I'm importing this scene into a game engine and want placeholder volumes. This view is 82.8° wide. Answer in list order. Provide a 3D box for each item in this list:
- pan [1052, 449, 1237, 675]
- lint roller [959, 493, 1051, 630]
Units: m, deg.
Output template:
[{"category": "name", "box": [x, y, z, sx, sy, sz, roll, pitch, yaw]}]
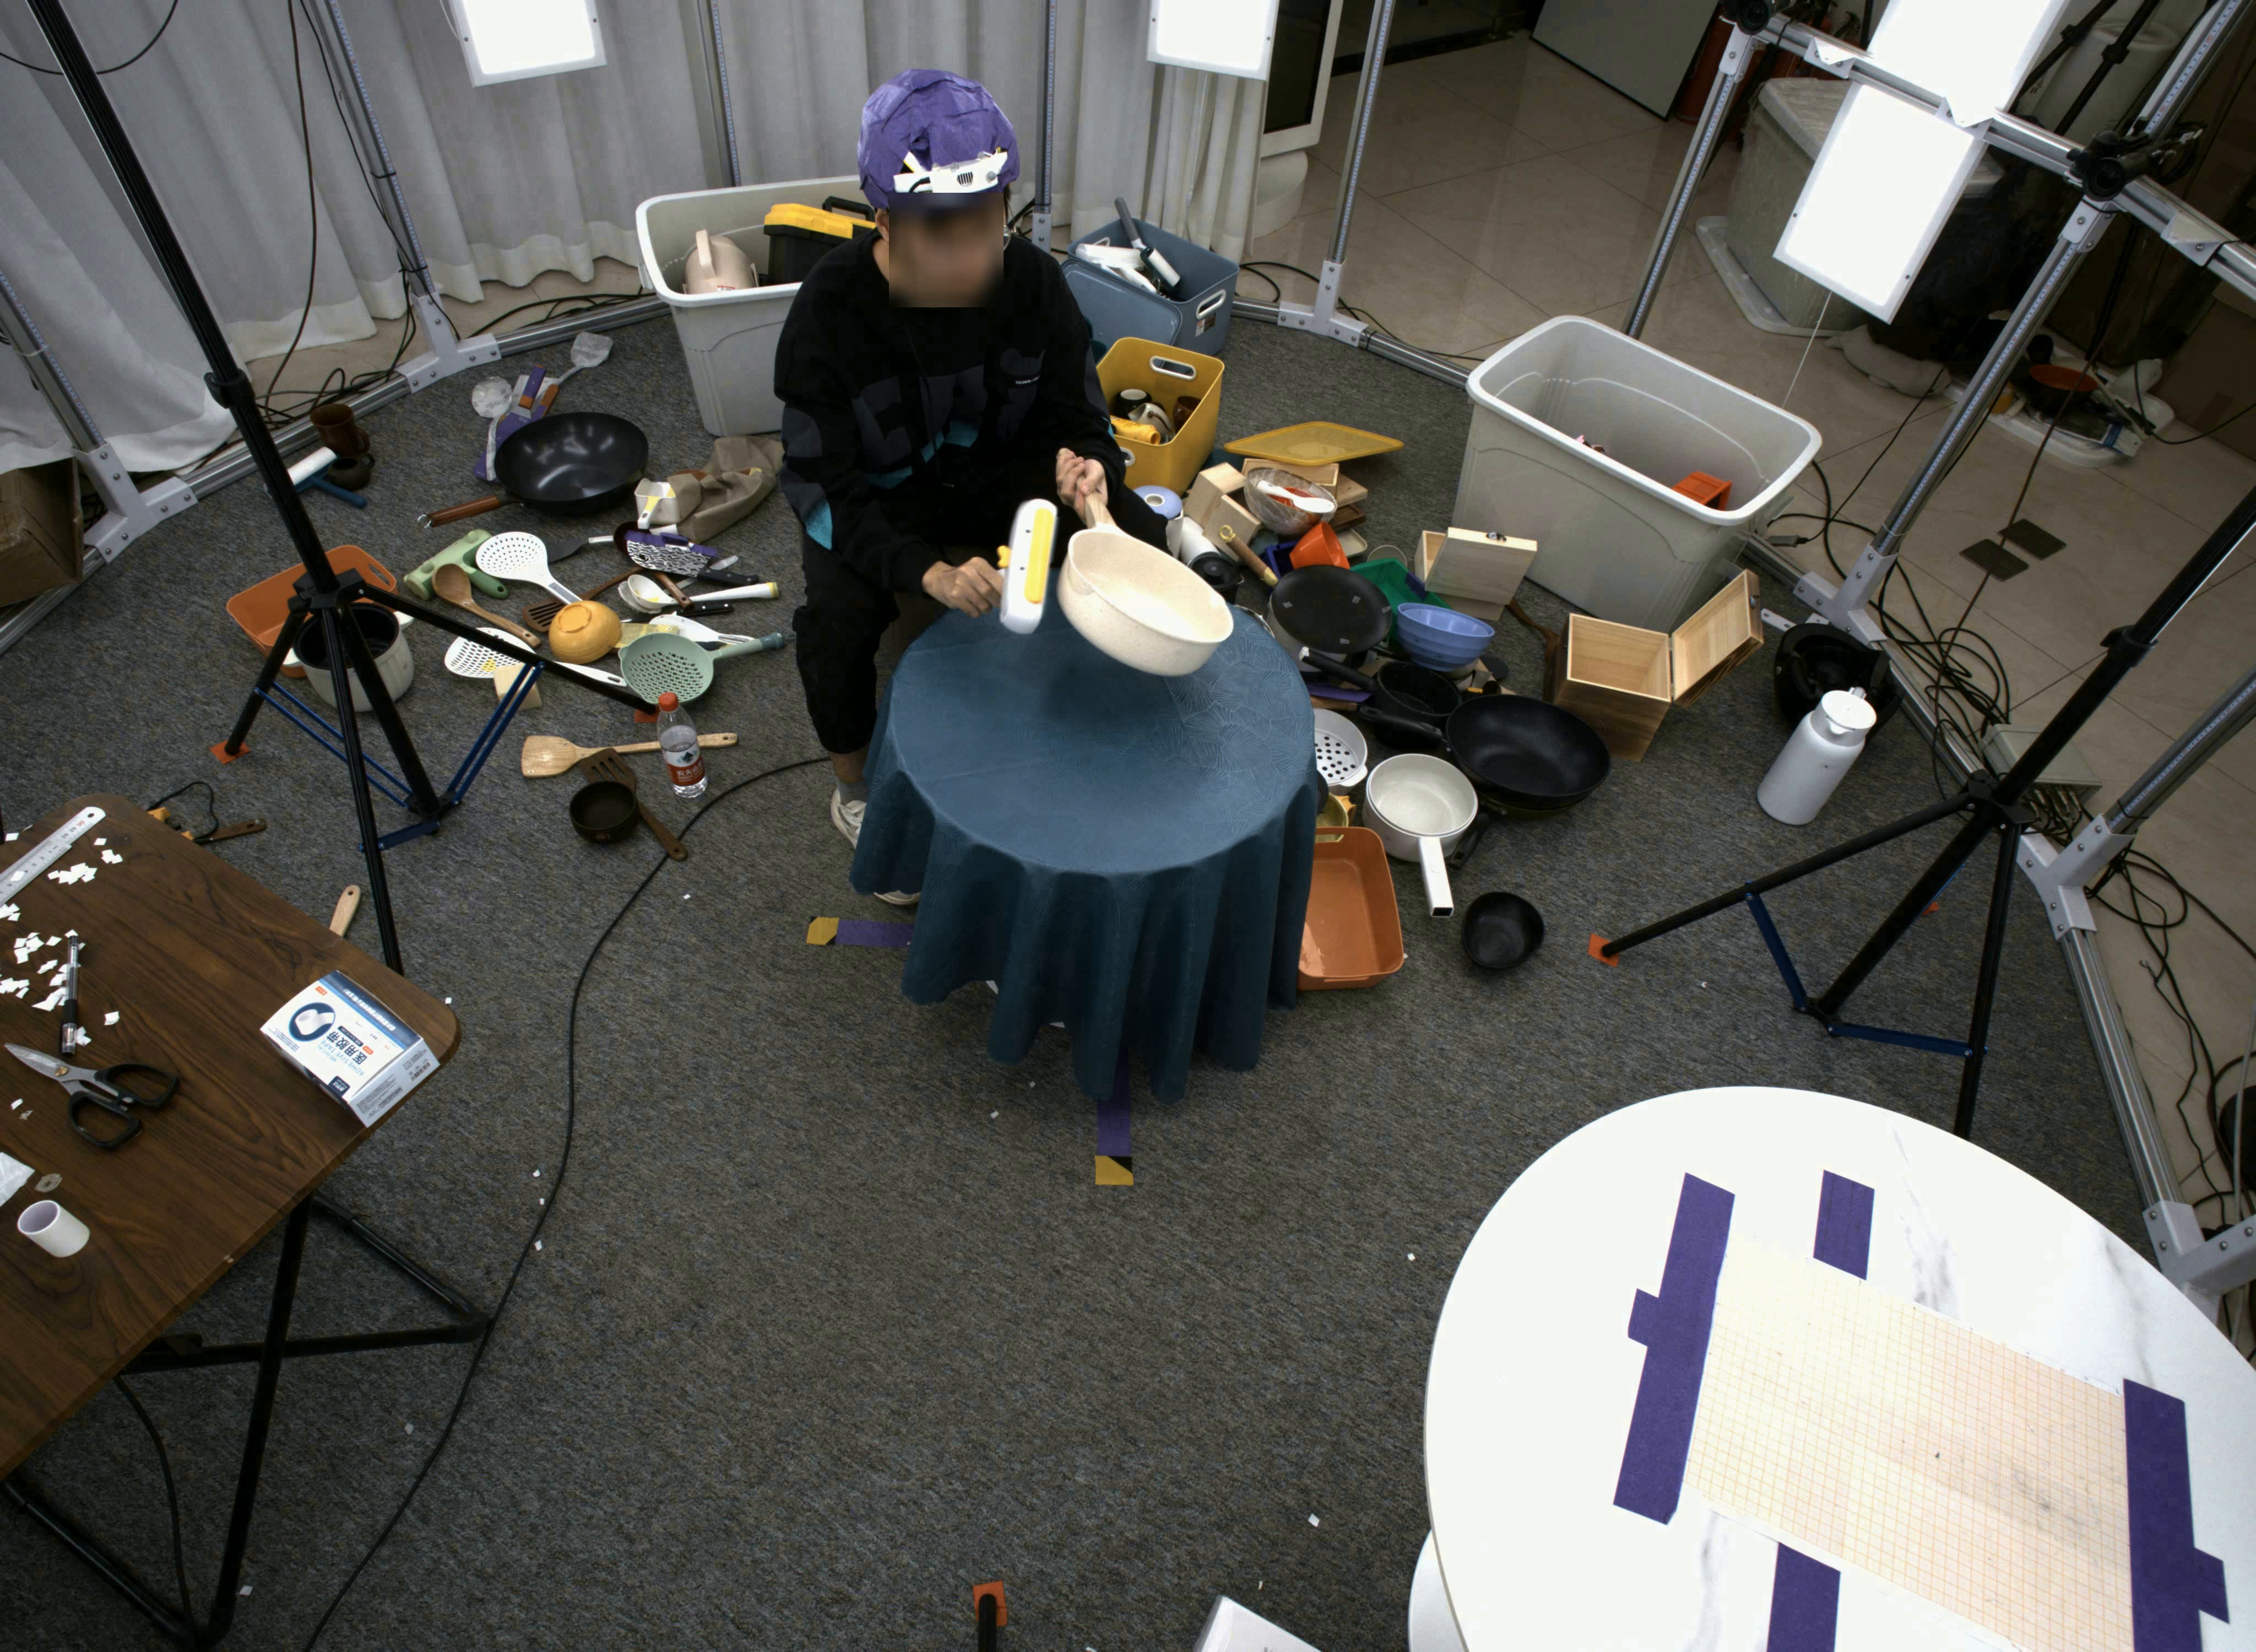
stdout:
[{"category": "pan", "box": [-0.019, -0.370, 1.808, 0.262, 0.100, 0.444, 0, 43, -37]}, {"category": "lint roller", "box": [-0.170, -0.338, 1.767, 0.073, 0.190, 0.196, 11, 67, -26]}]
